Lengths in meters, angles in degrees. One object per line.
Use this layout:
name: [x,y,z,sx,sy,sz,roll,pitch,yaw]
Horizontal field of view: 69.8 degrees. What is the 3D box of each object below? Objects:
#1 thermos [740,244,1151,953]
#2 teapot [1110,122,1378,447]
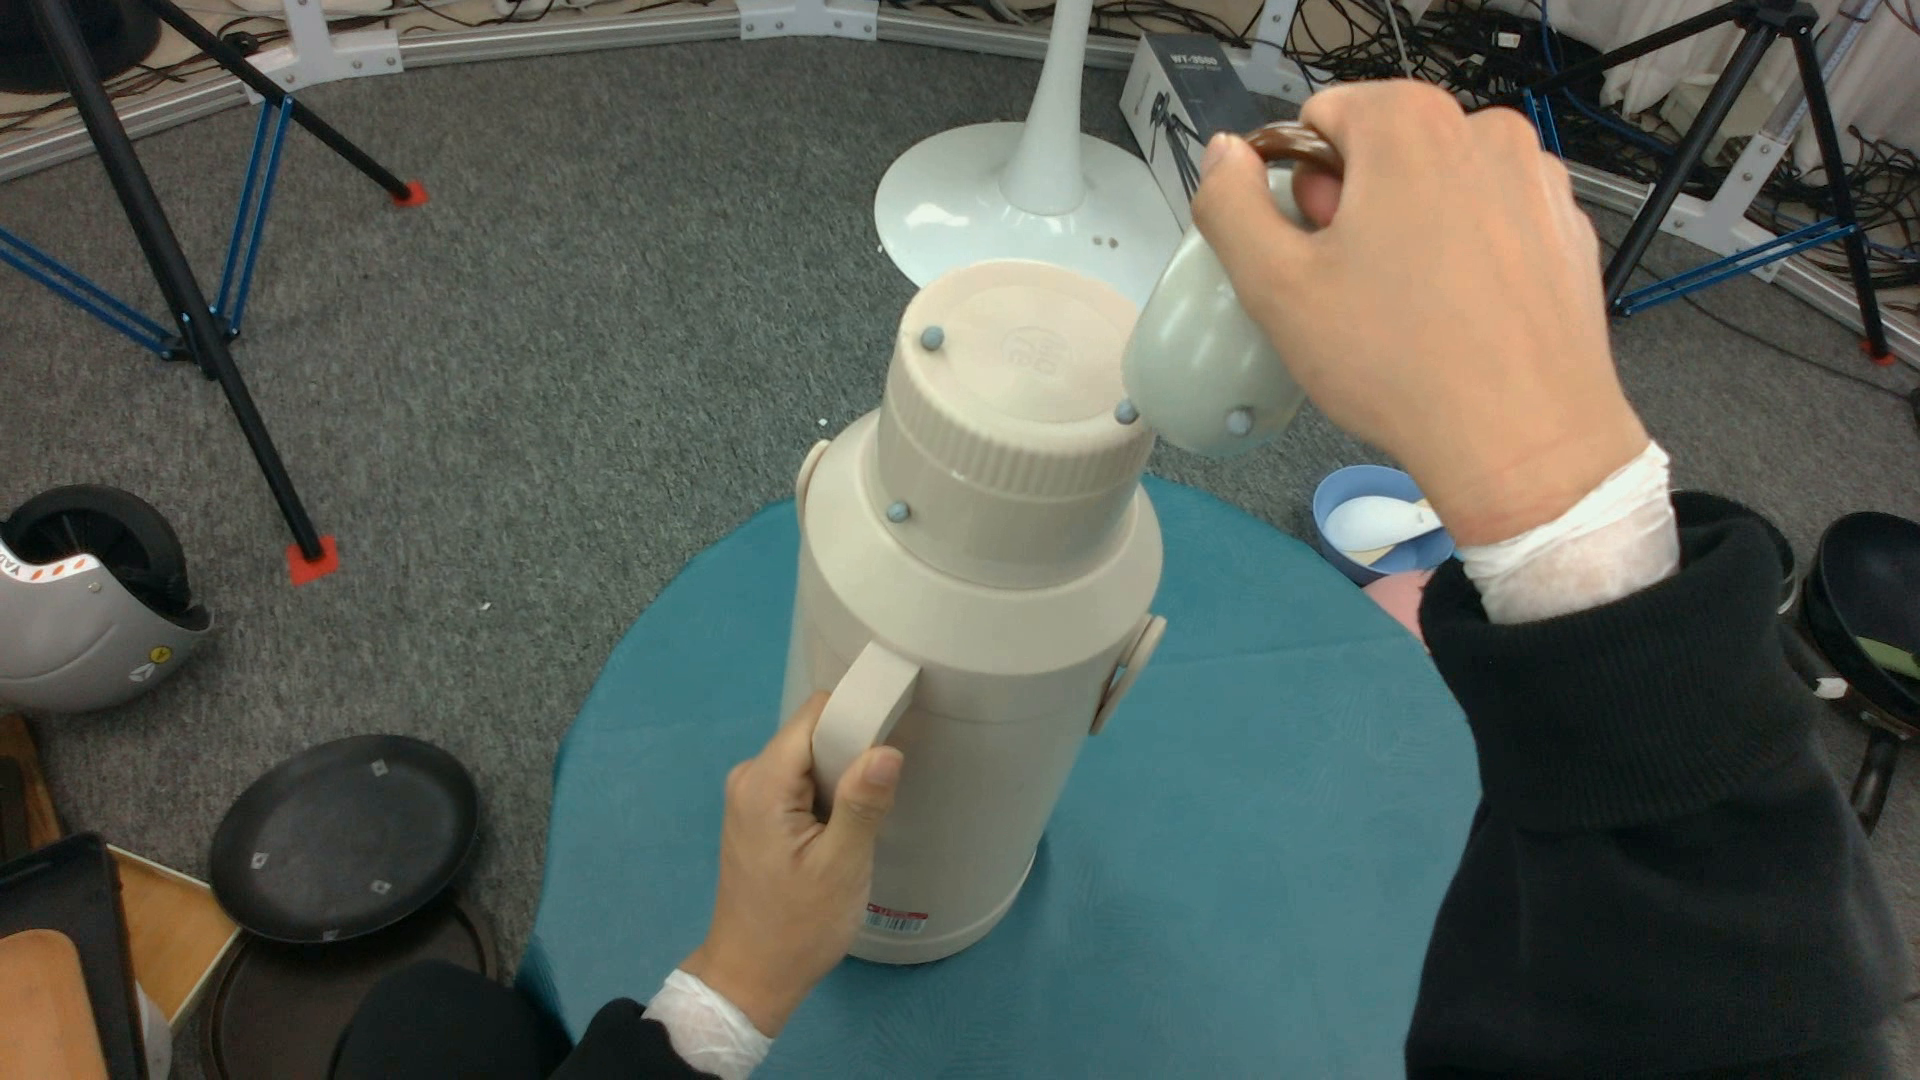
thermos: [-0.020,0.056,0.654,0.175,0.404,0.208,28,50,8]
teapot: [0.090,-0.079,0.438,0.059,0.127,0.092,32,56,8]
